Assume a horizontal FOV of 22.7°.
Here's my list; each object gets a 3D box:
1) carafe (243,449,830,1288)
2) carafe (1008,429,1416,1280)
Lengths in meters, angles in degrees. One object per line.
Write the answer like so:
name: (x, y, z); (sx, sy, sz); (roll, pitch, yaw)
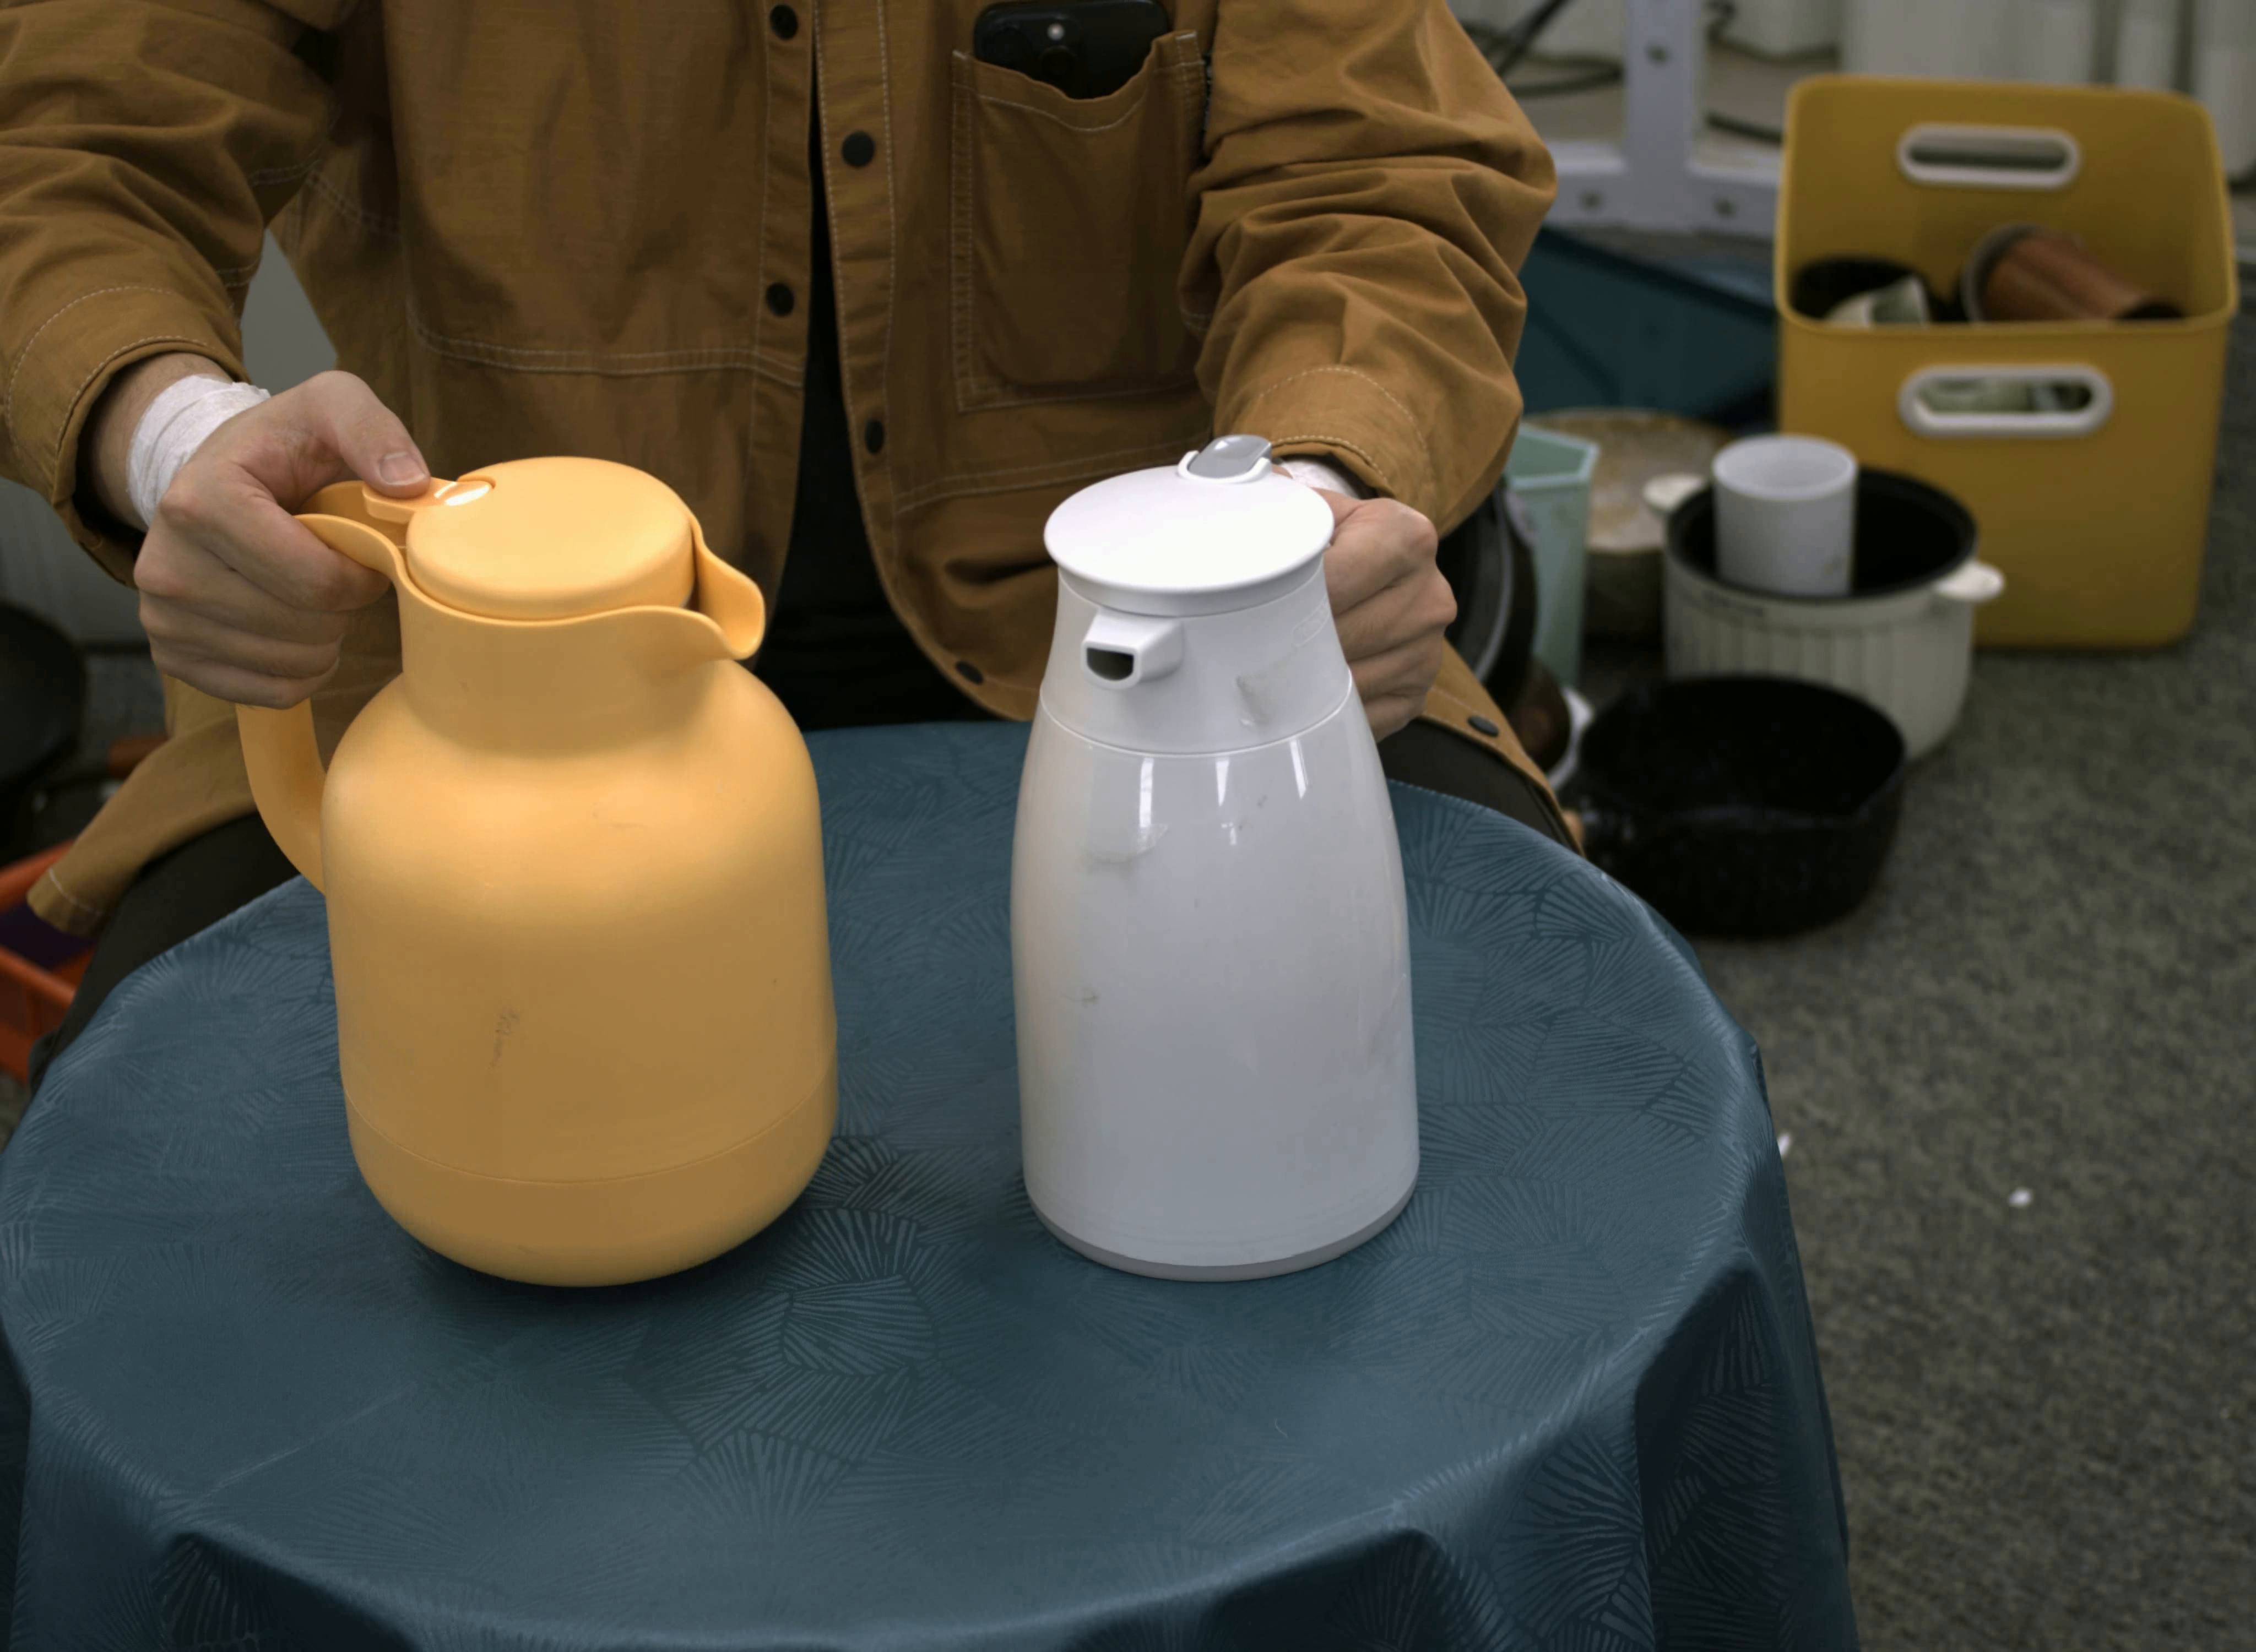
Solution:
carafe: (-0.194, 0.003, 1.816); (0.201, 0.257, 0.166); (18, 33, 26)
carafe: (0.031, -0.002, 1.828); (0.131, 0.246, 0.170); (8, 28, 22)
